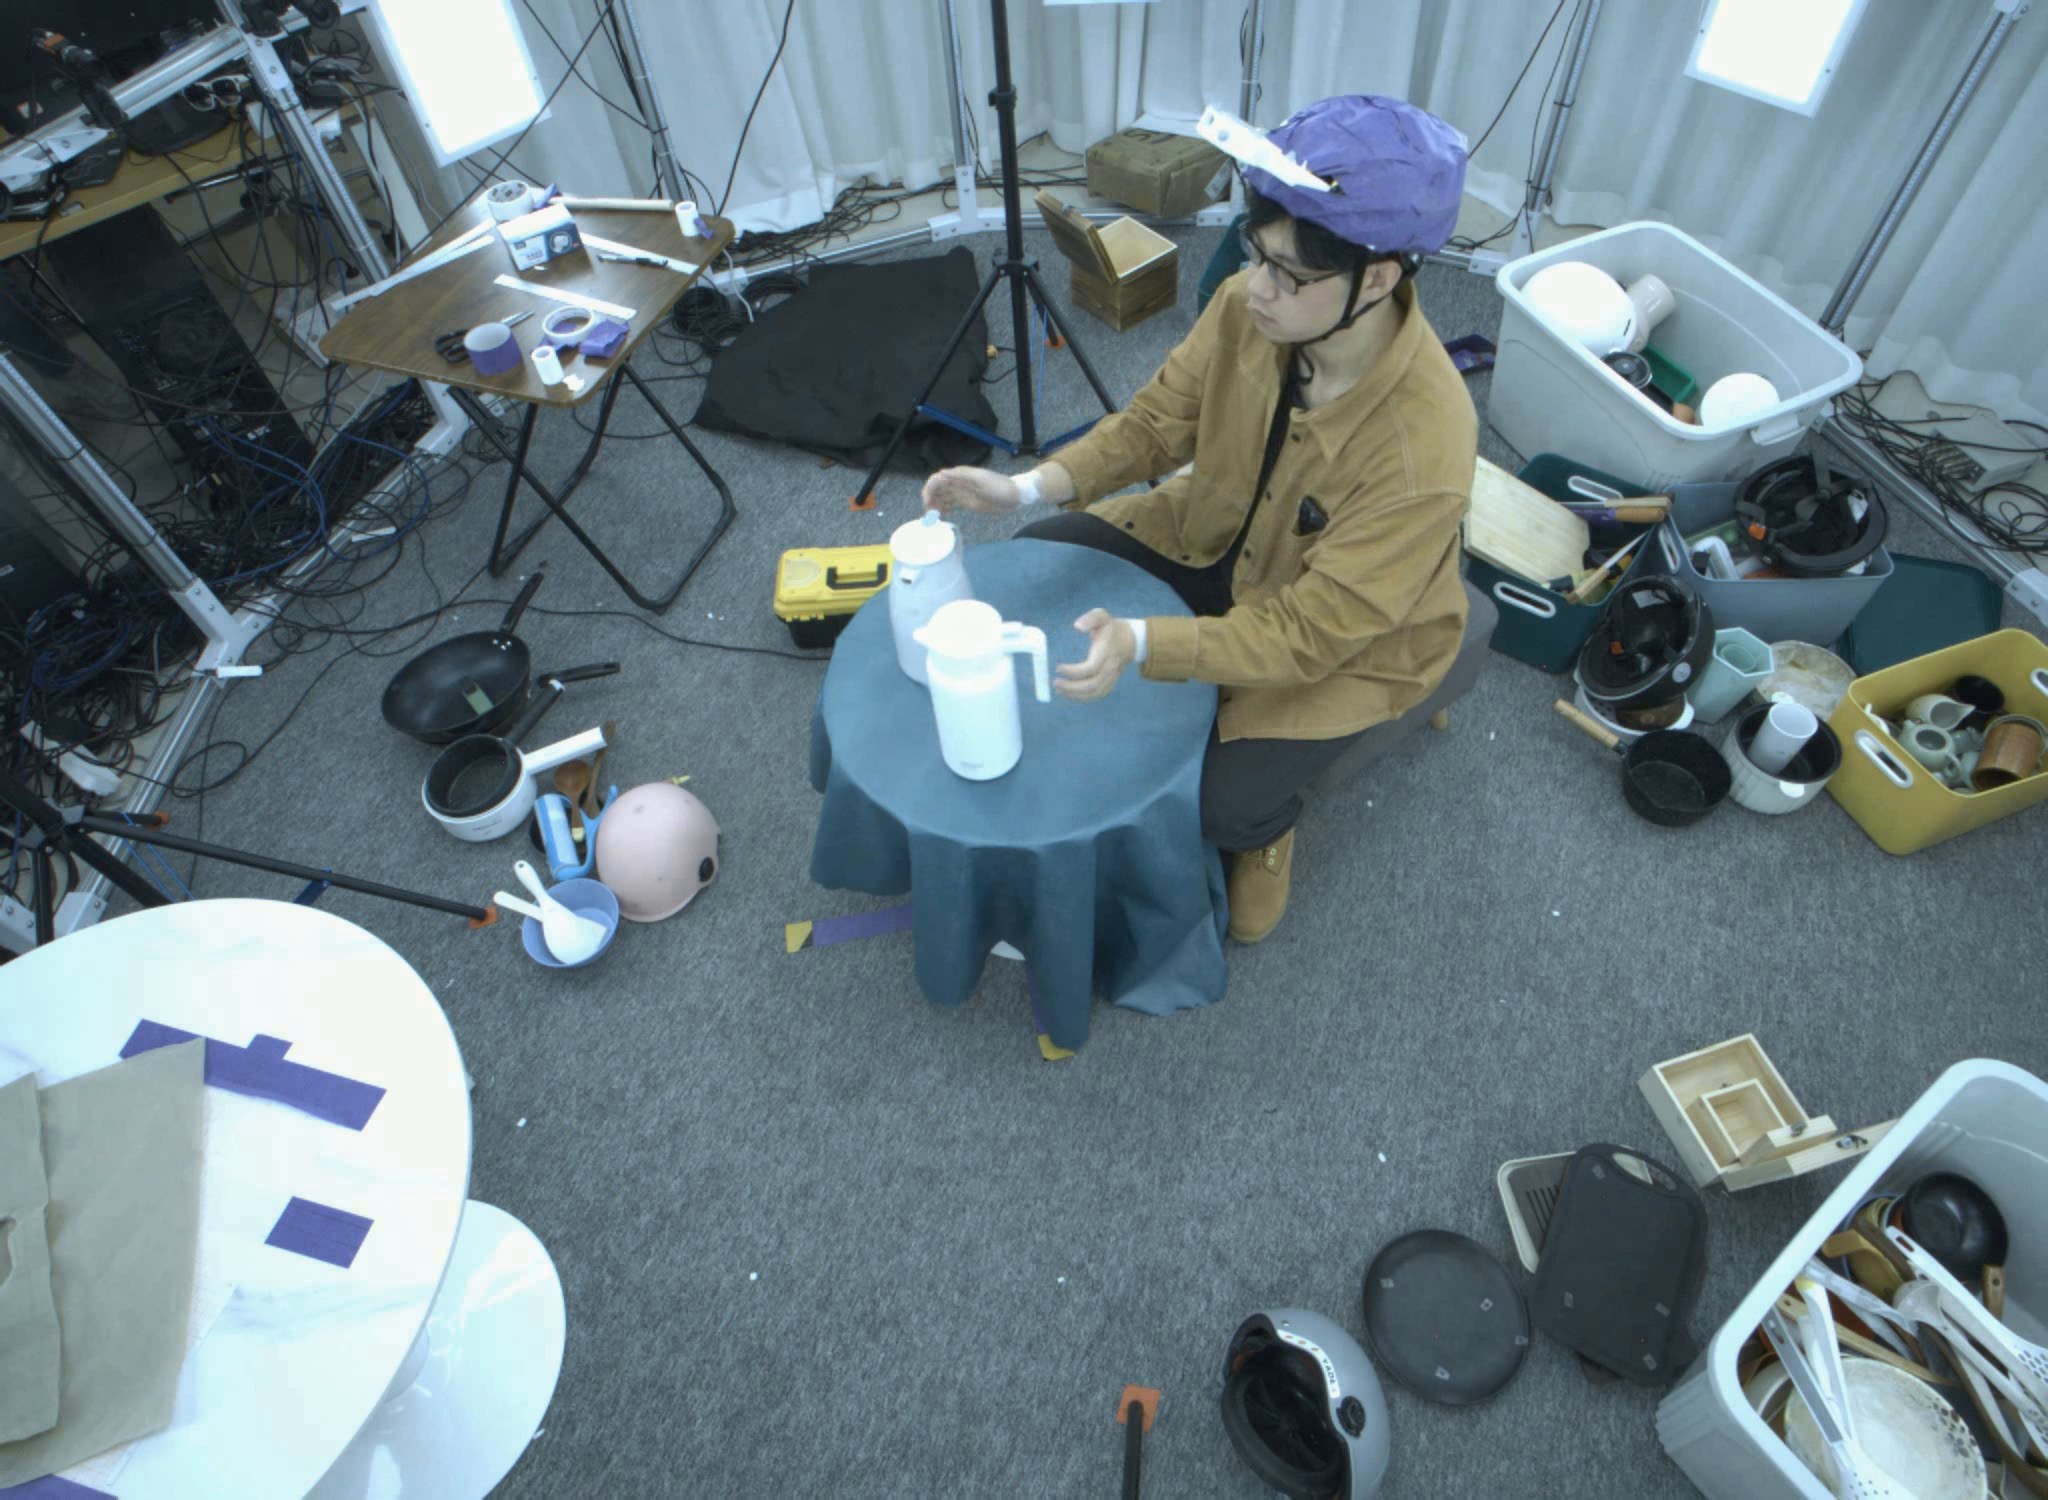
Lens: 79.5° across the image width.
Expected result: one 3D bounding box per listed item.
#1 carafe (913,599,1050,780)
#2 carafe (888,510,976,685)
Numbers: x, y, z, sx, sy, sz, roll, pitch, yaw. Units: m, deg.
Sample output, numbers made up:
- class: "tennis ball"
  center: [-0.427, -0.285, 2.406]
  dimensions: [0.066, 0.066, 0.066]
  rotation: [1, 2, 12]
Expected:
- class: "carafe"
  center: [-0.051, -0.080, 1.677]
  dimensions: [0.173, 0.272, 0.122]
  rotation: [-3, 52, 1]
- class: "carafe"
  center: [-0.131, -0.237, 1.803]
  dimensions: [0.131, 0.251, 0.167]
  rotation: [14, 55, 13]
